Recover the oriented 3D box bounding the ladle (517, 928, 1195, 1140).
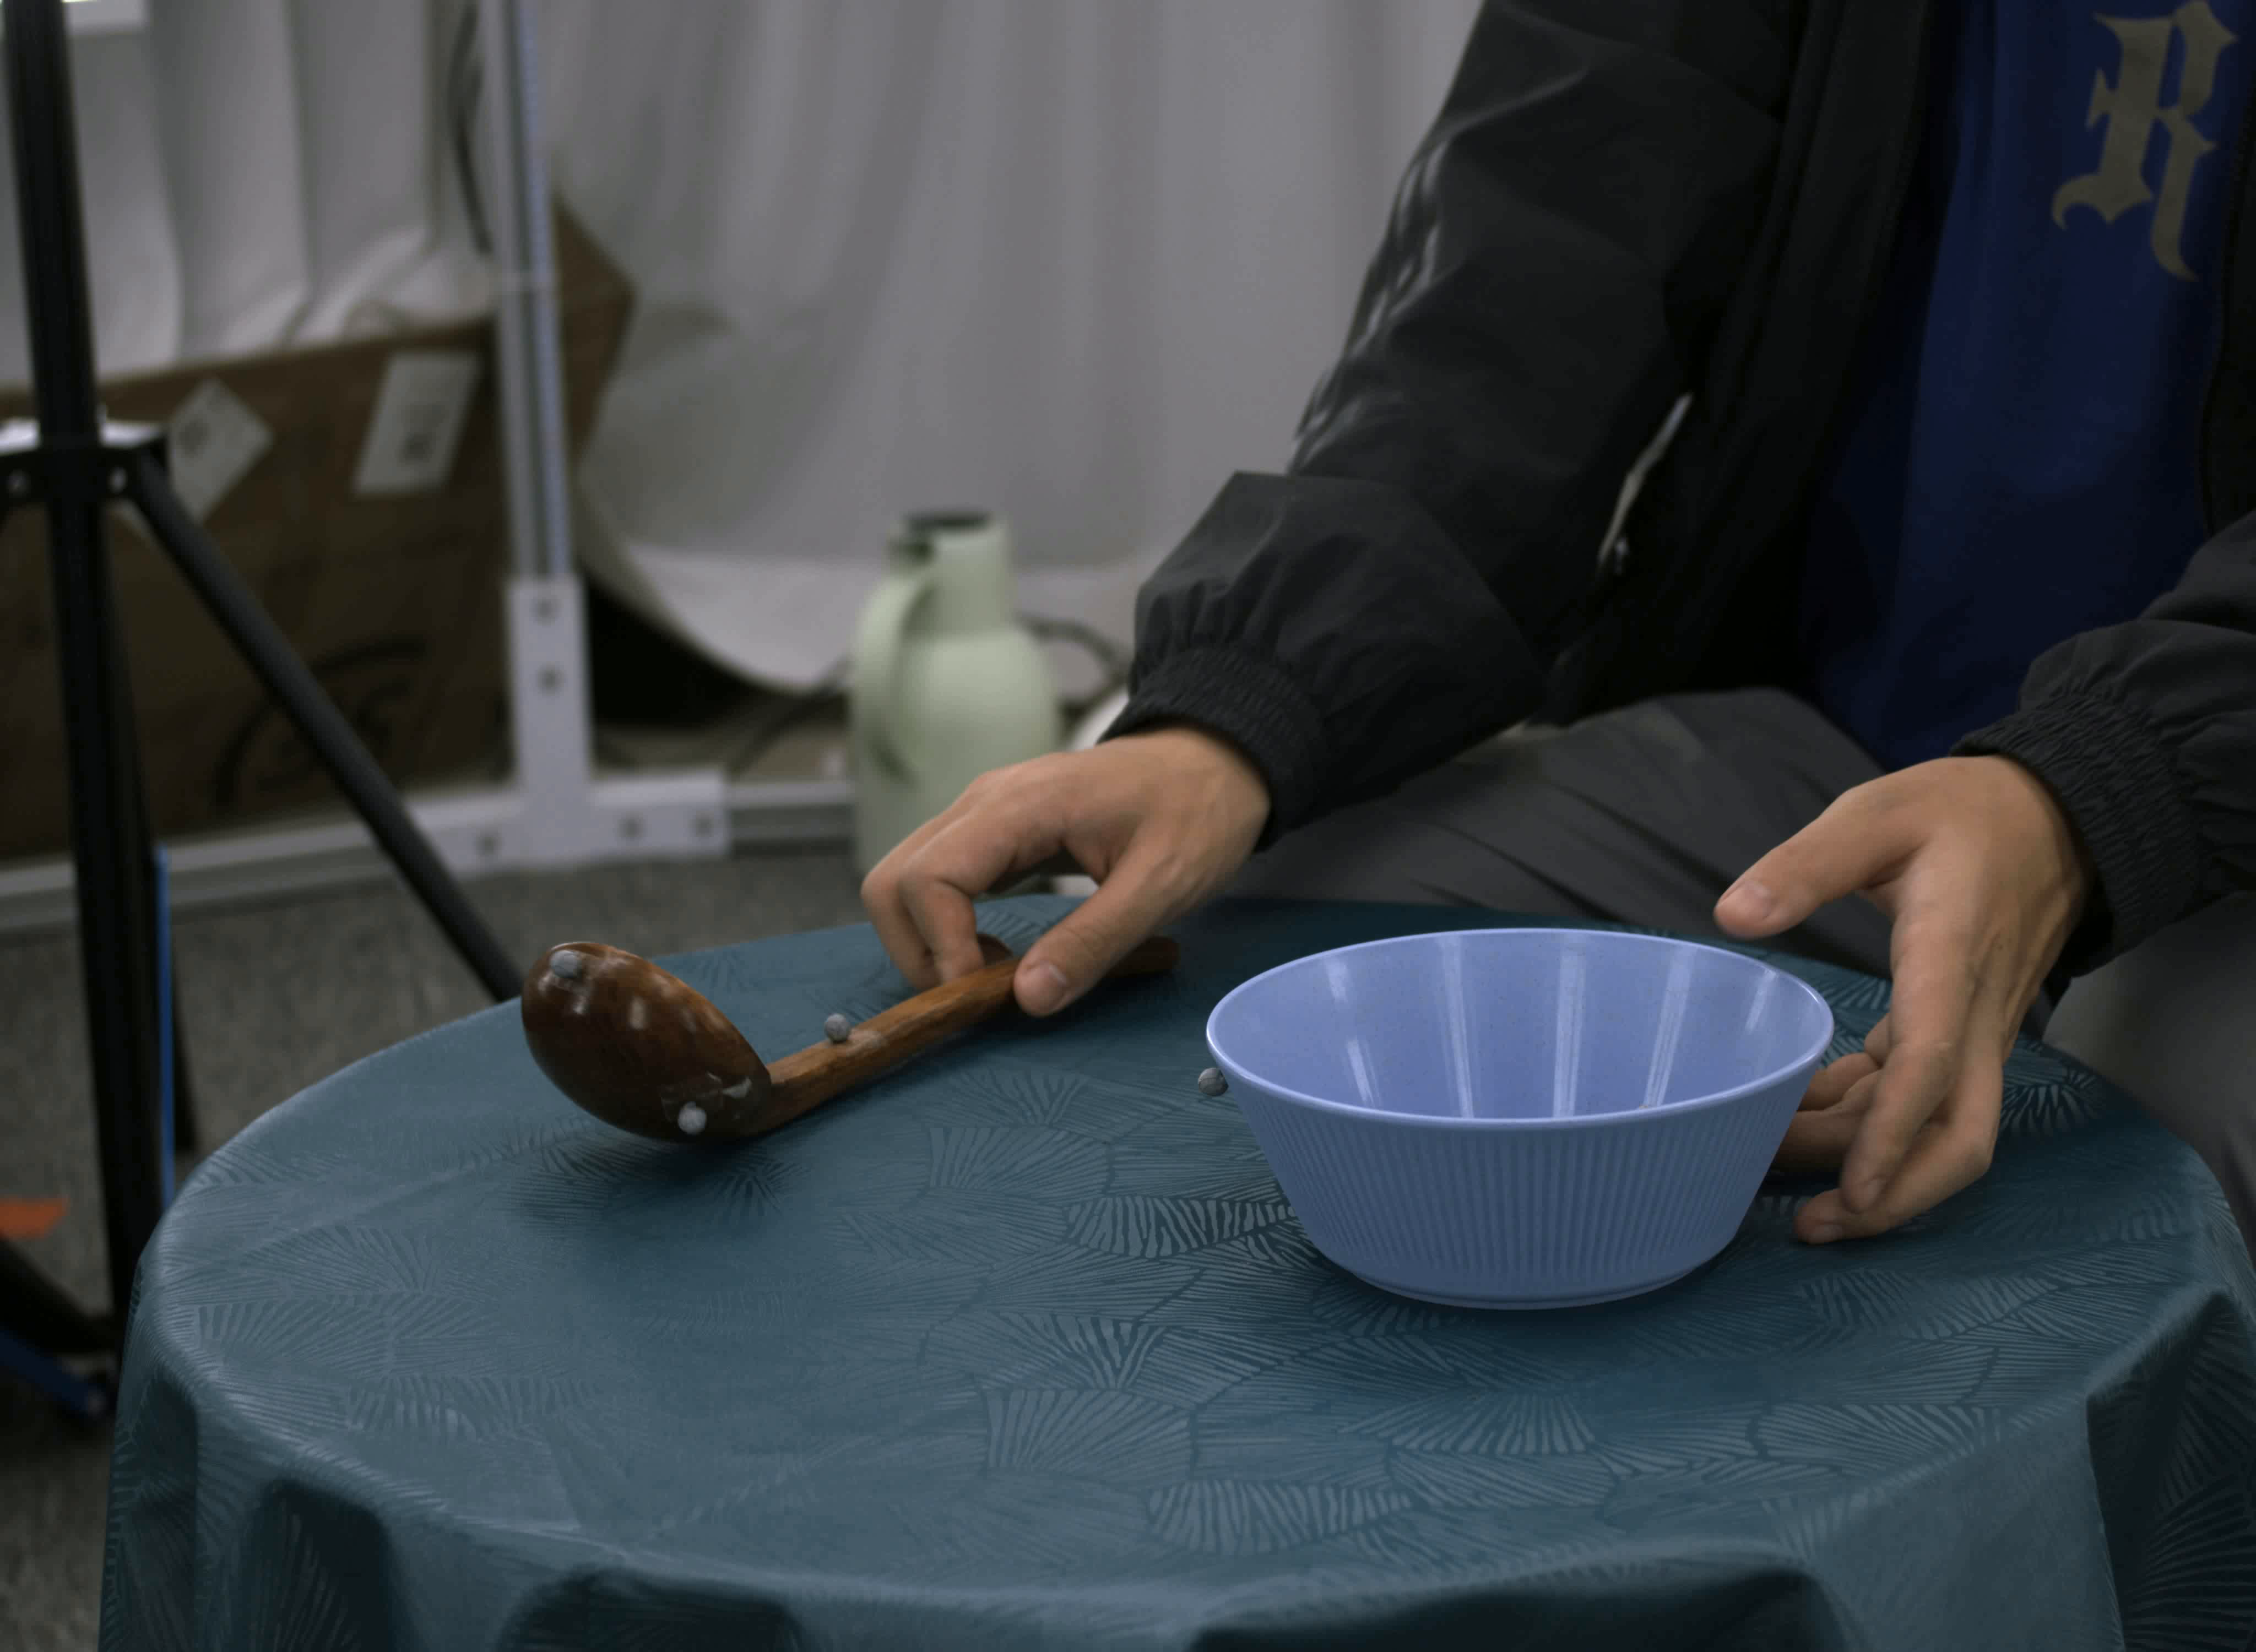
[{"bbox_3d":[-0.078,0.040,1.670,0.084,0.076,0.268,12,22,41],"label":"ladle"}]

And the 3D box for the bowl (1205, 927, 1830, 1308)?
[{"bbox_3d":[0.110,0.085,1.494,0.175,0.070,0.177,-2,16,-1],"label":"bowl"}]
